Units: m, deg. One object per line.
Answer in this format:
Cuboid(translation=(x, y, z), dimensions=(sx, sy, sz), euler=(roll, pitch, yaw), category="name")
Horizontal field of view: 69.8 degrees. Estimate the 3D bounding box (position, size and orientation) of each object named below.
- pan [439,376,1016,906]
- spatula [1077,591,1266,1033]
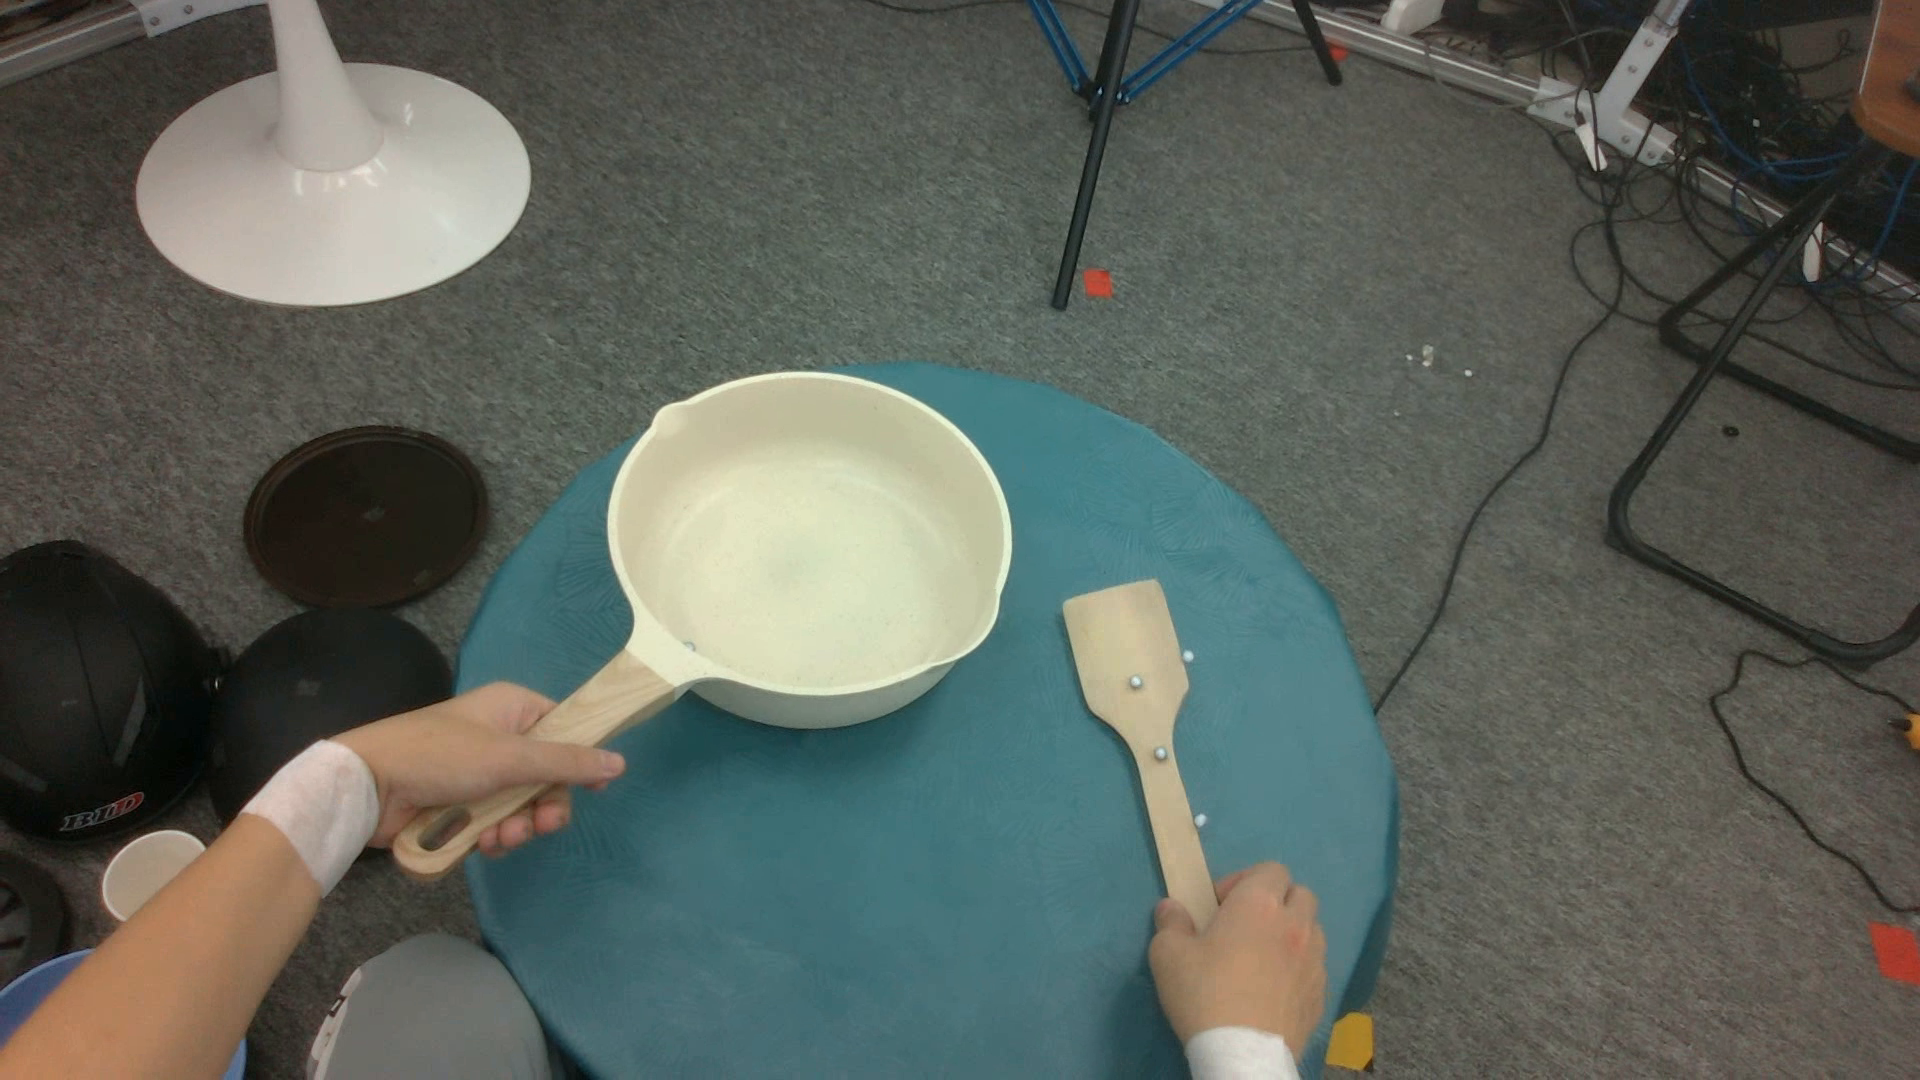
Cuboid(translation=(-0.144, 0.066, 0.850), dimensions=(0.263, 0.101, 0.437), euler=(33, 56, 14), category="pan")
Cuboid(translation=(0.140, 0.163, 0.872), dimensions=(0.072, 0.010, 0.294), euler=(-14, 57, 3), category="spatula")
